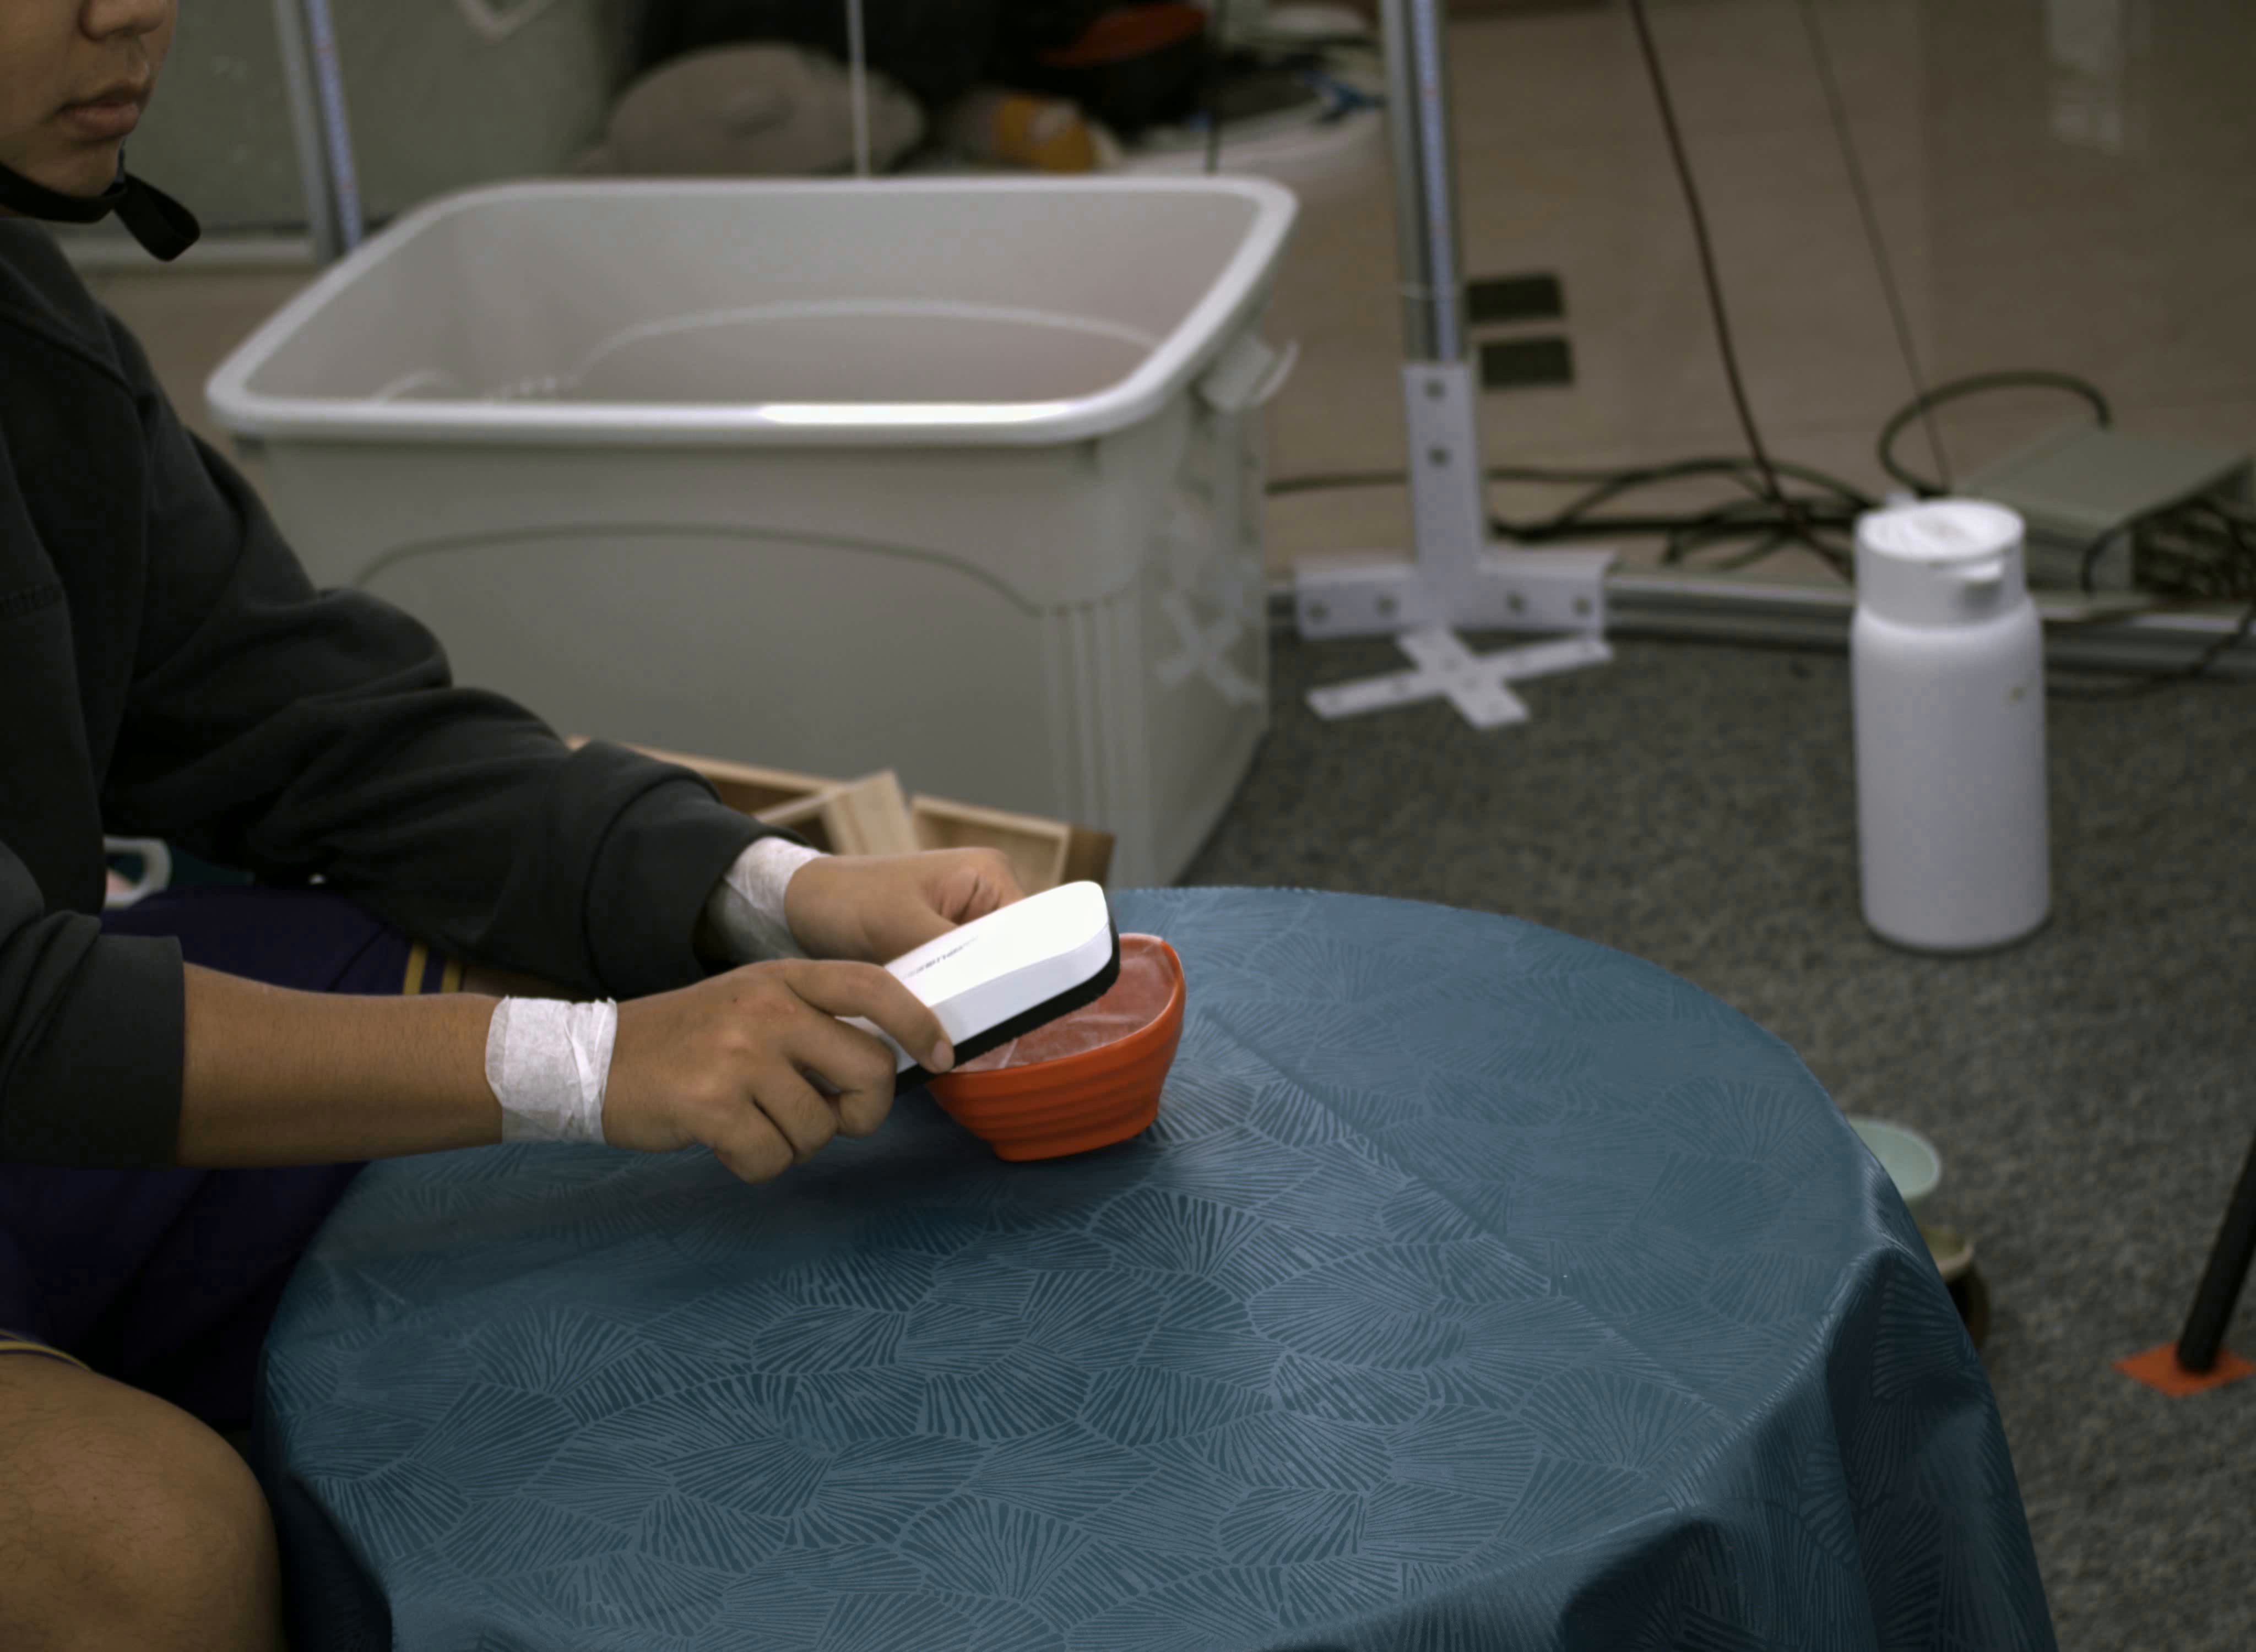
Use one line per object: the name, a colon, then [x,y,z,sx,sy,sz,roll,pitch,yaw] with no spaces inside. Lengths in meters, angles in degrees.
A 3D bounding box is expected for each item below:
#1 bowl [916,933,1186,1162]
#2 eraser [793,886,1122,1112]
bowl: [-0.026,0.090,2.187,0.119,0.052,0.117,-13,23,6]
eraser: [-0.065,0.063,2.149,0.131,0.035,0.062,-24,21,14]
